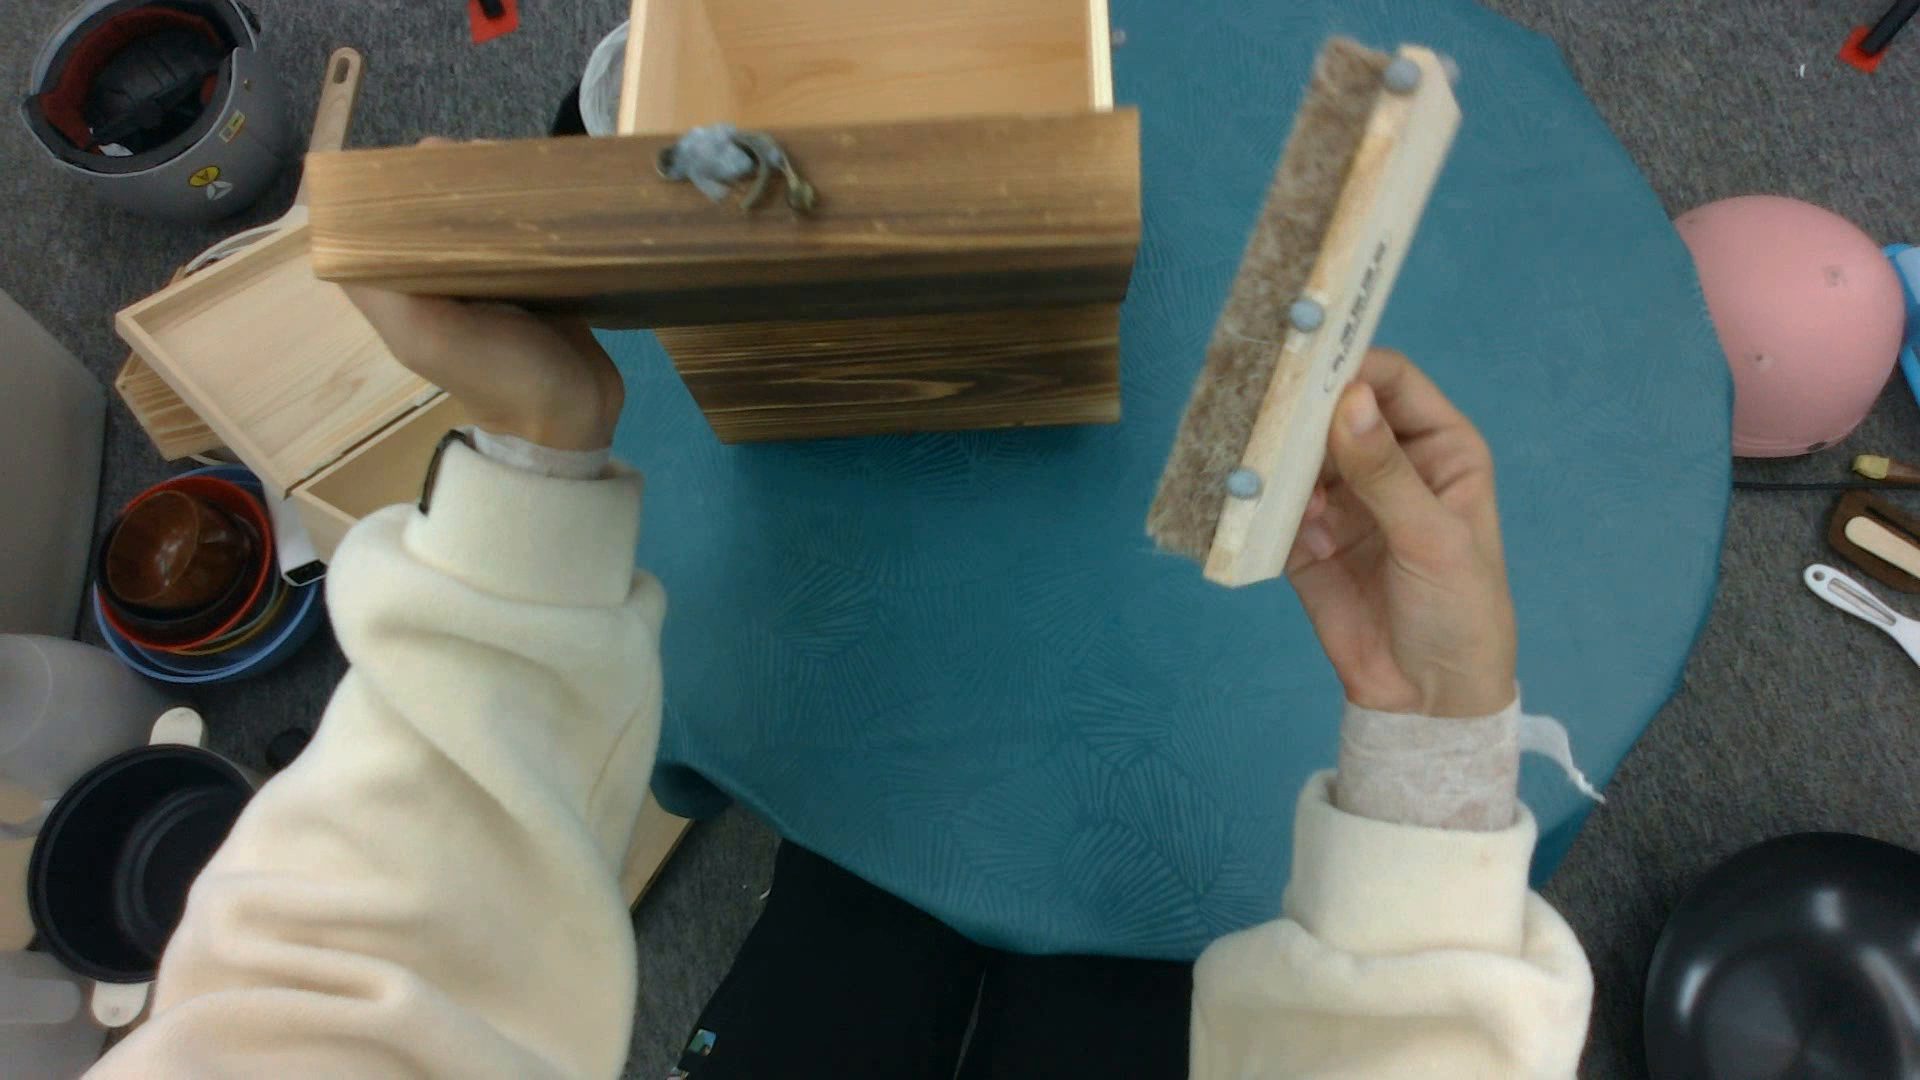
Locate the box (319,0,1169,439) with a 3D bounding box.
[{"bbox_3d":[-0.044,-0.174,0.536,0.208,0.374,0.323,-3,65,4],"label":"box"}]

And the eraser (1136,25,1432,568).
[{"bbox_3d":[0.088,-0.062,0.375,0.029,0.057,0.139,22,99,23],"label":"eraser"}]
